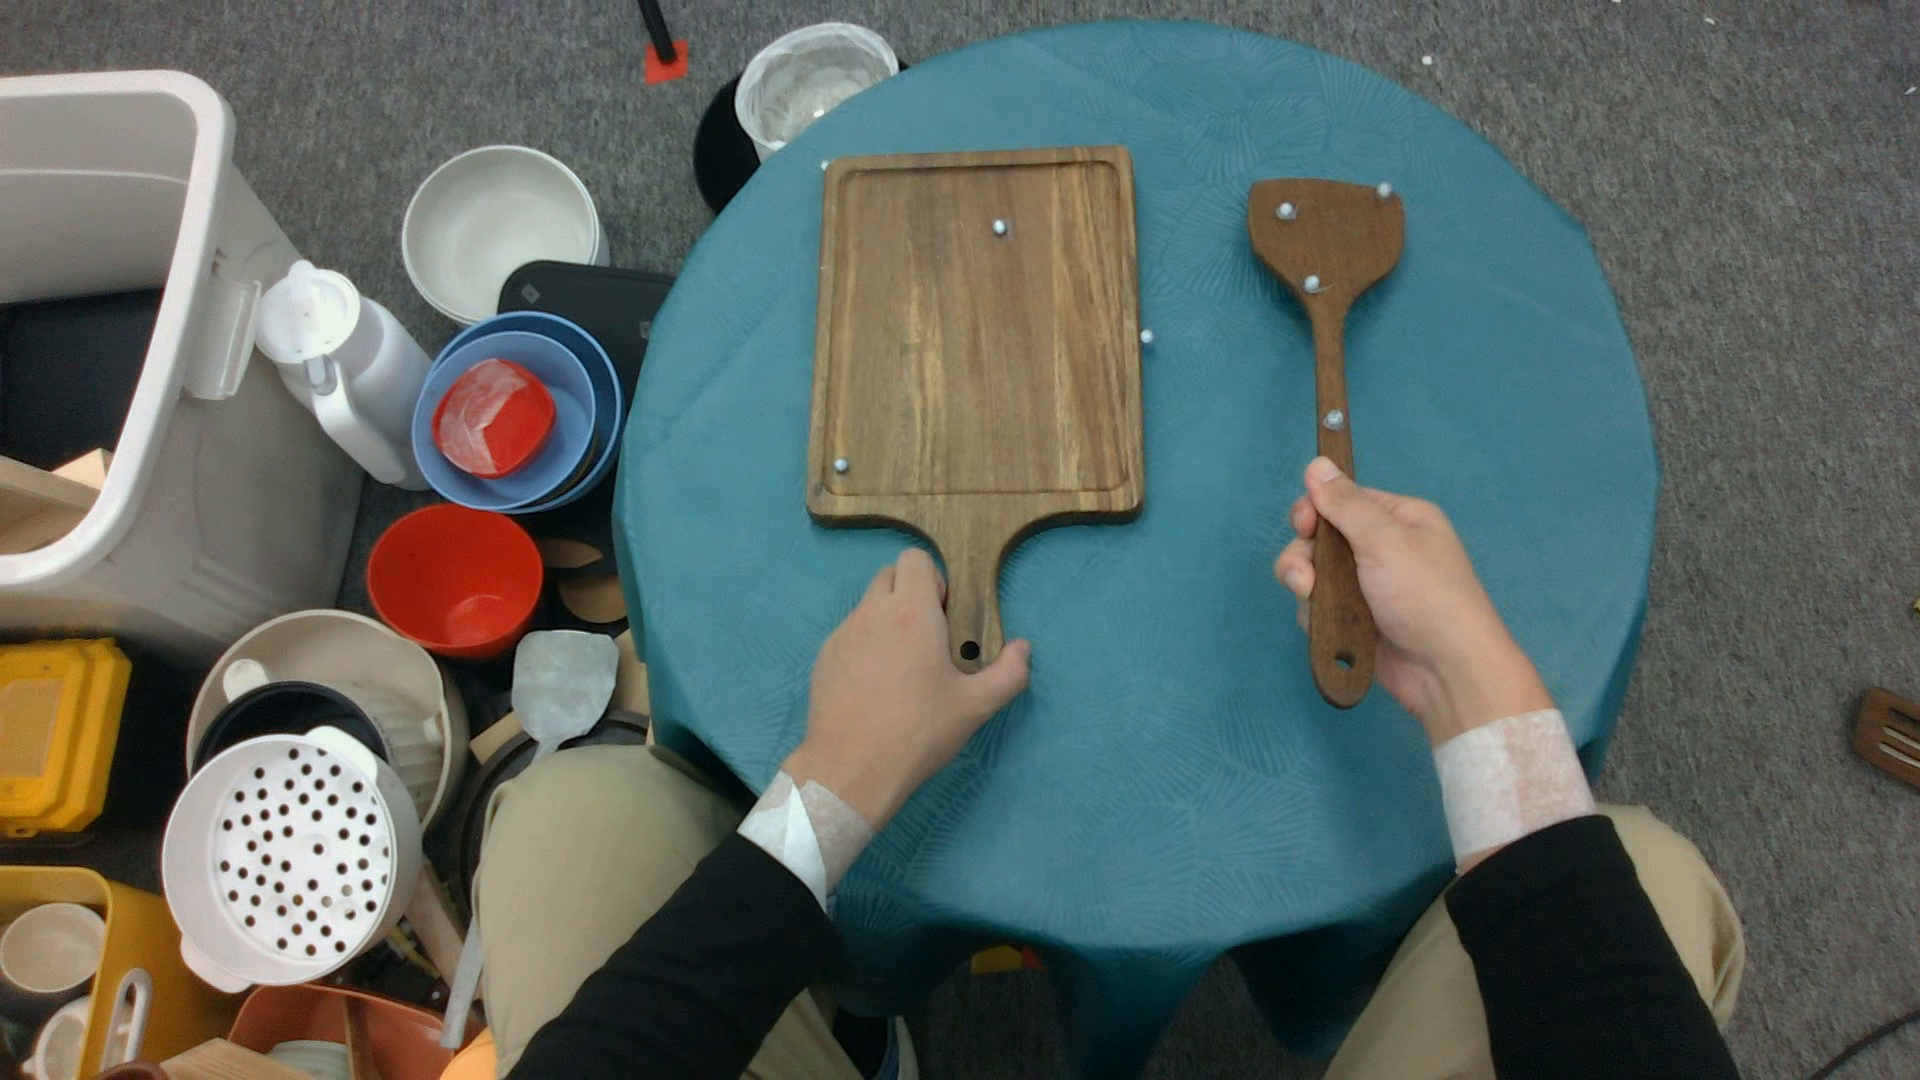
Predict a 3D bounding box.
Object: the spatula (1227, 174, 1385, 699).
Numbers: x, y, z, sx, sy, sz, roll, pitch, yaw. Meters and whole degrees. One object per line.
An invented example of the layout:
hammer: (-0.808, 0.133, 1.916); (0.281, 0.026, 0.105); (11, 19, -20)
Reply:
spatula: (0.191, -0.080, 0.748); (0.096, 0.016, 0.388); (6, 51, 4)

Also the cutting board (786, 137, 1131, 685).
cutting board: (-0.003, -0.086, 0.813); (0.201, 0.023, 0.353); (-1, 68, 4)
